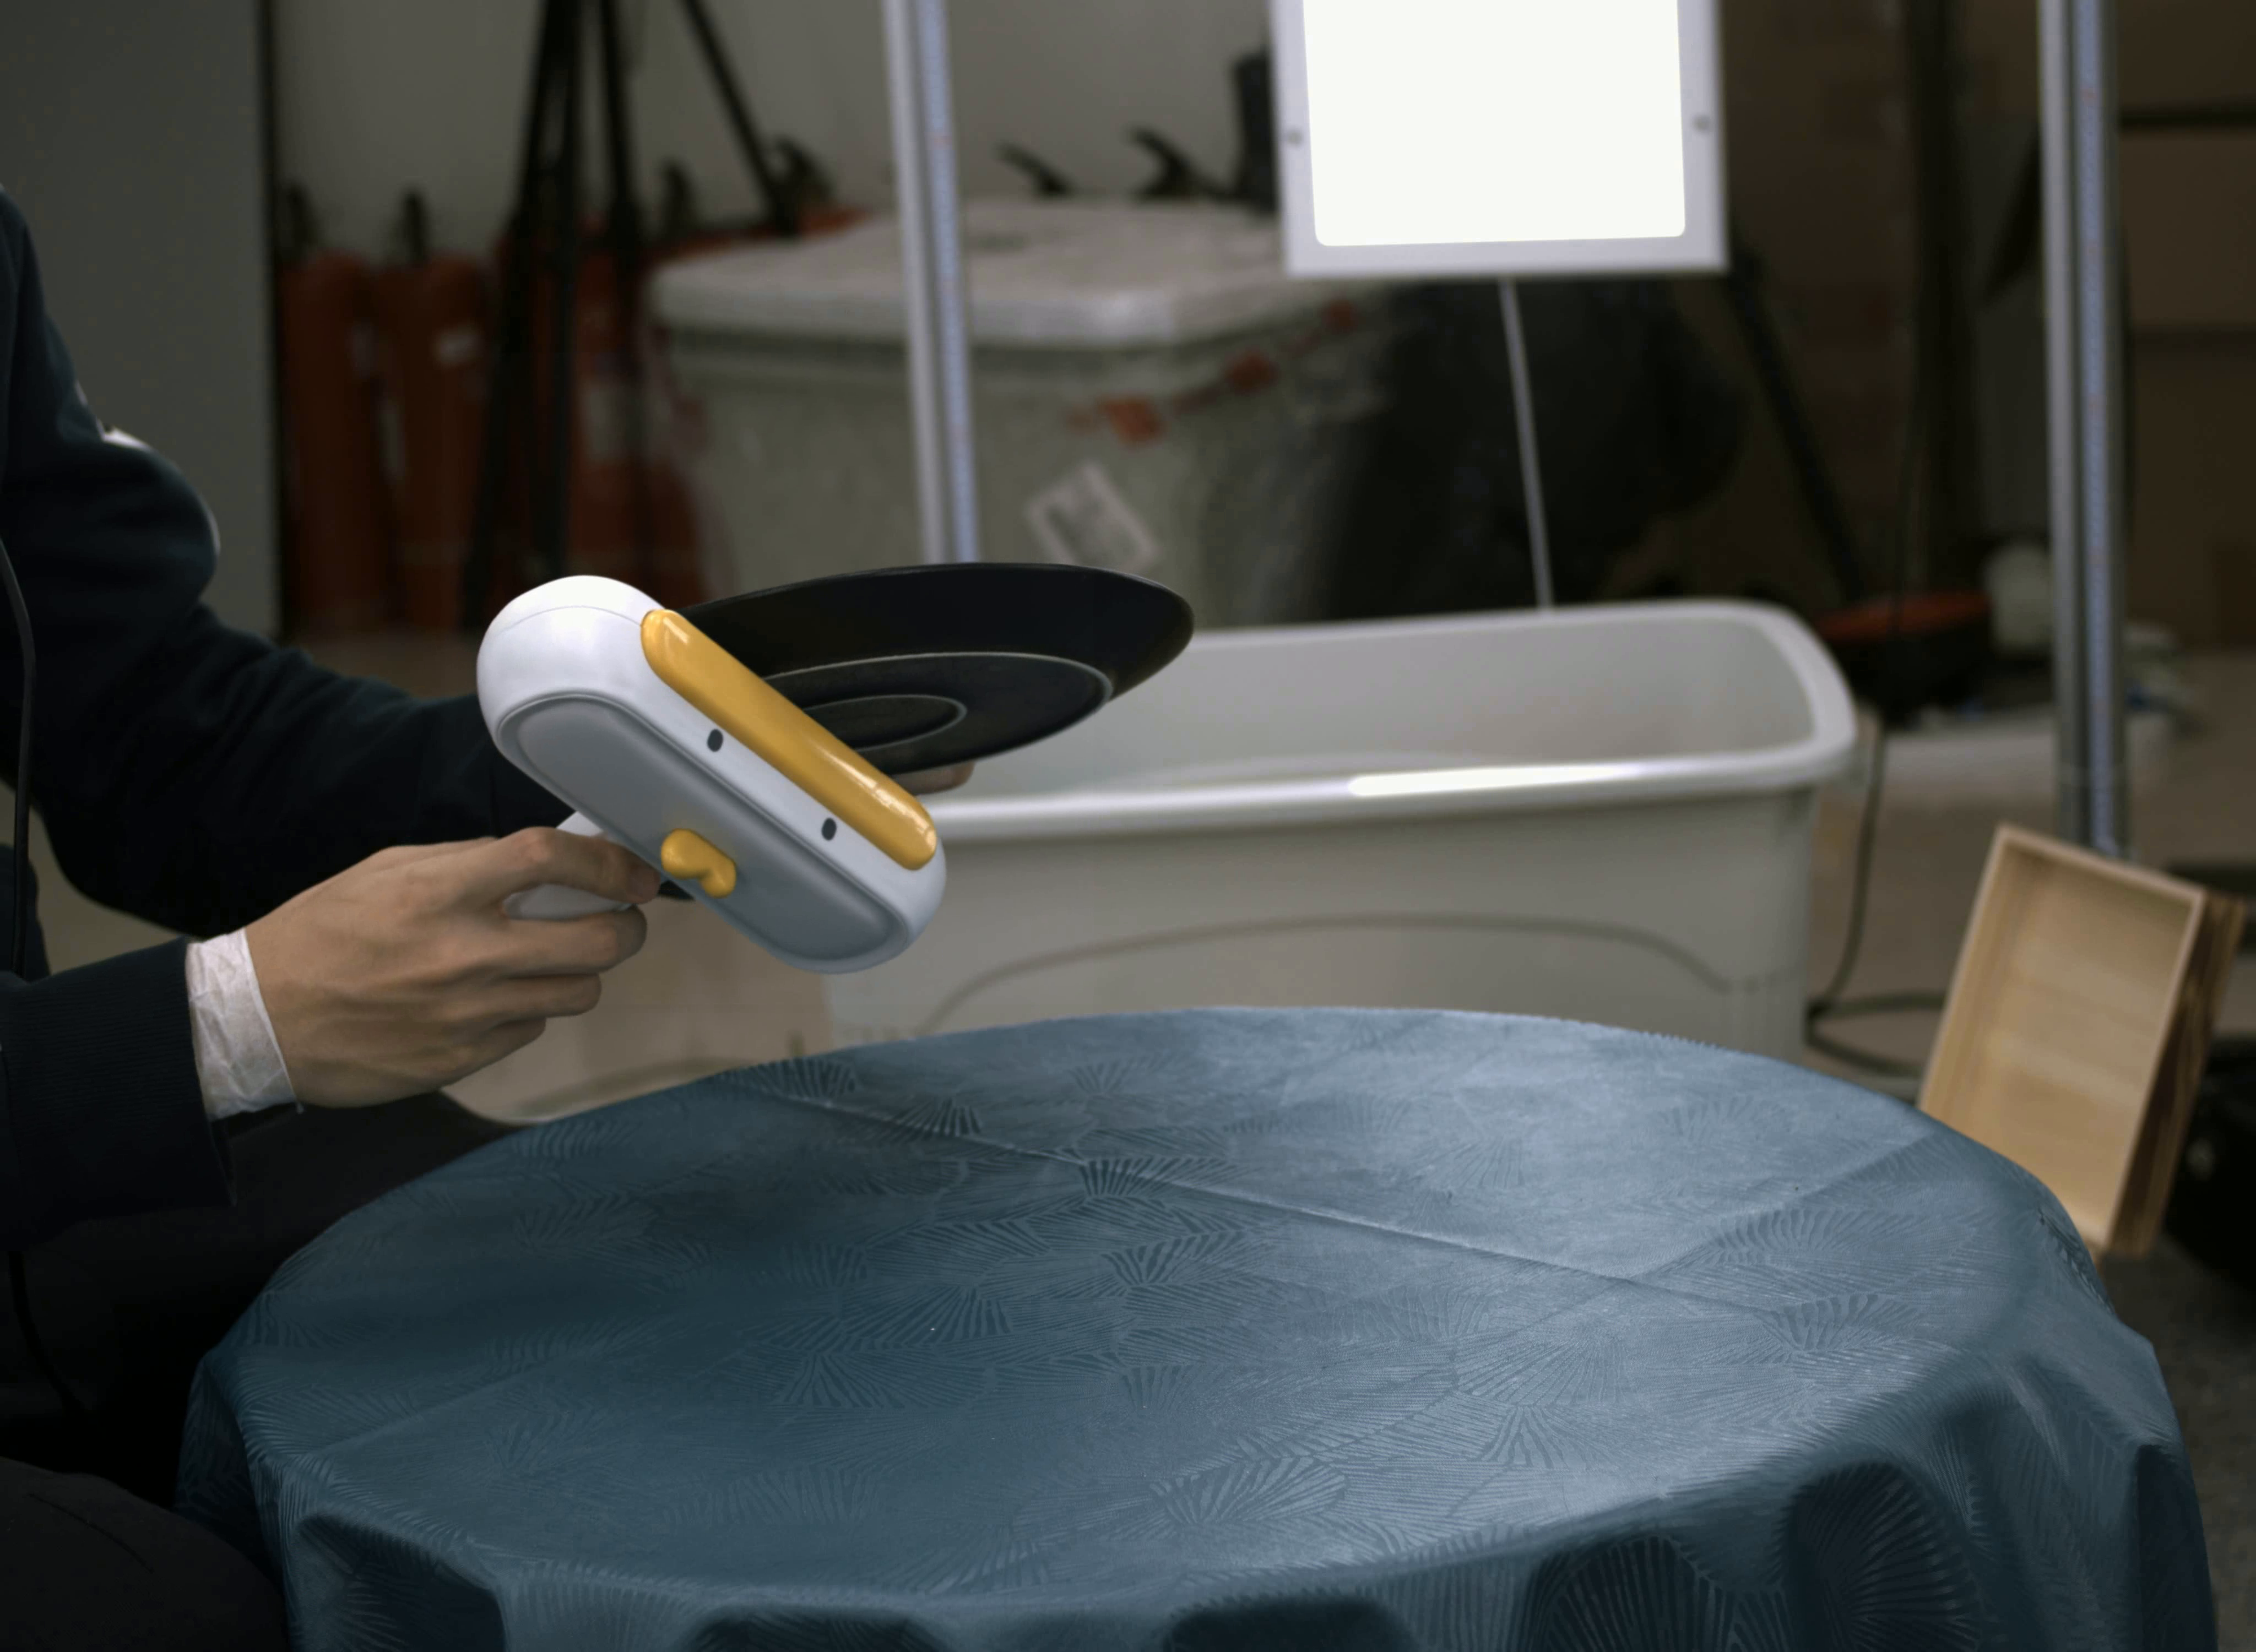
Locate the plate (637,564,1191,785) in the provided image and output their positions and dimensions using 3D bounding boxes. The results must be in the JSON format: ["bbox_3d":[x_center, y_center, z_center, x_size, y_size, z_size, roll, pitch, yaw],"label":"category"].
[{"bbox_3d":[-0.096,-0.045,1.915,0.243,0.023,0.245,-7,-13,-3],"label":"plate"}]

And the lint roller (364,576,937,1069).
[{"bbox_3d":[-0.185,0.015,1.854,0.196,0.074,0.189,-32,-45,31],"label":"lint roller"}]
